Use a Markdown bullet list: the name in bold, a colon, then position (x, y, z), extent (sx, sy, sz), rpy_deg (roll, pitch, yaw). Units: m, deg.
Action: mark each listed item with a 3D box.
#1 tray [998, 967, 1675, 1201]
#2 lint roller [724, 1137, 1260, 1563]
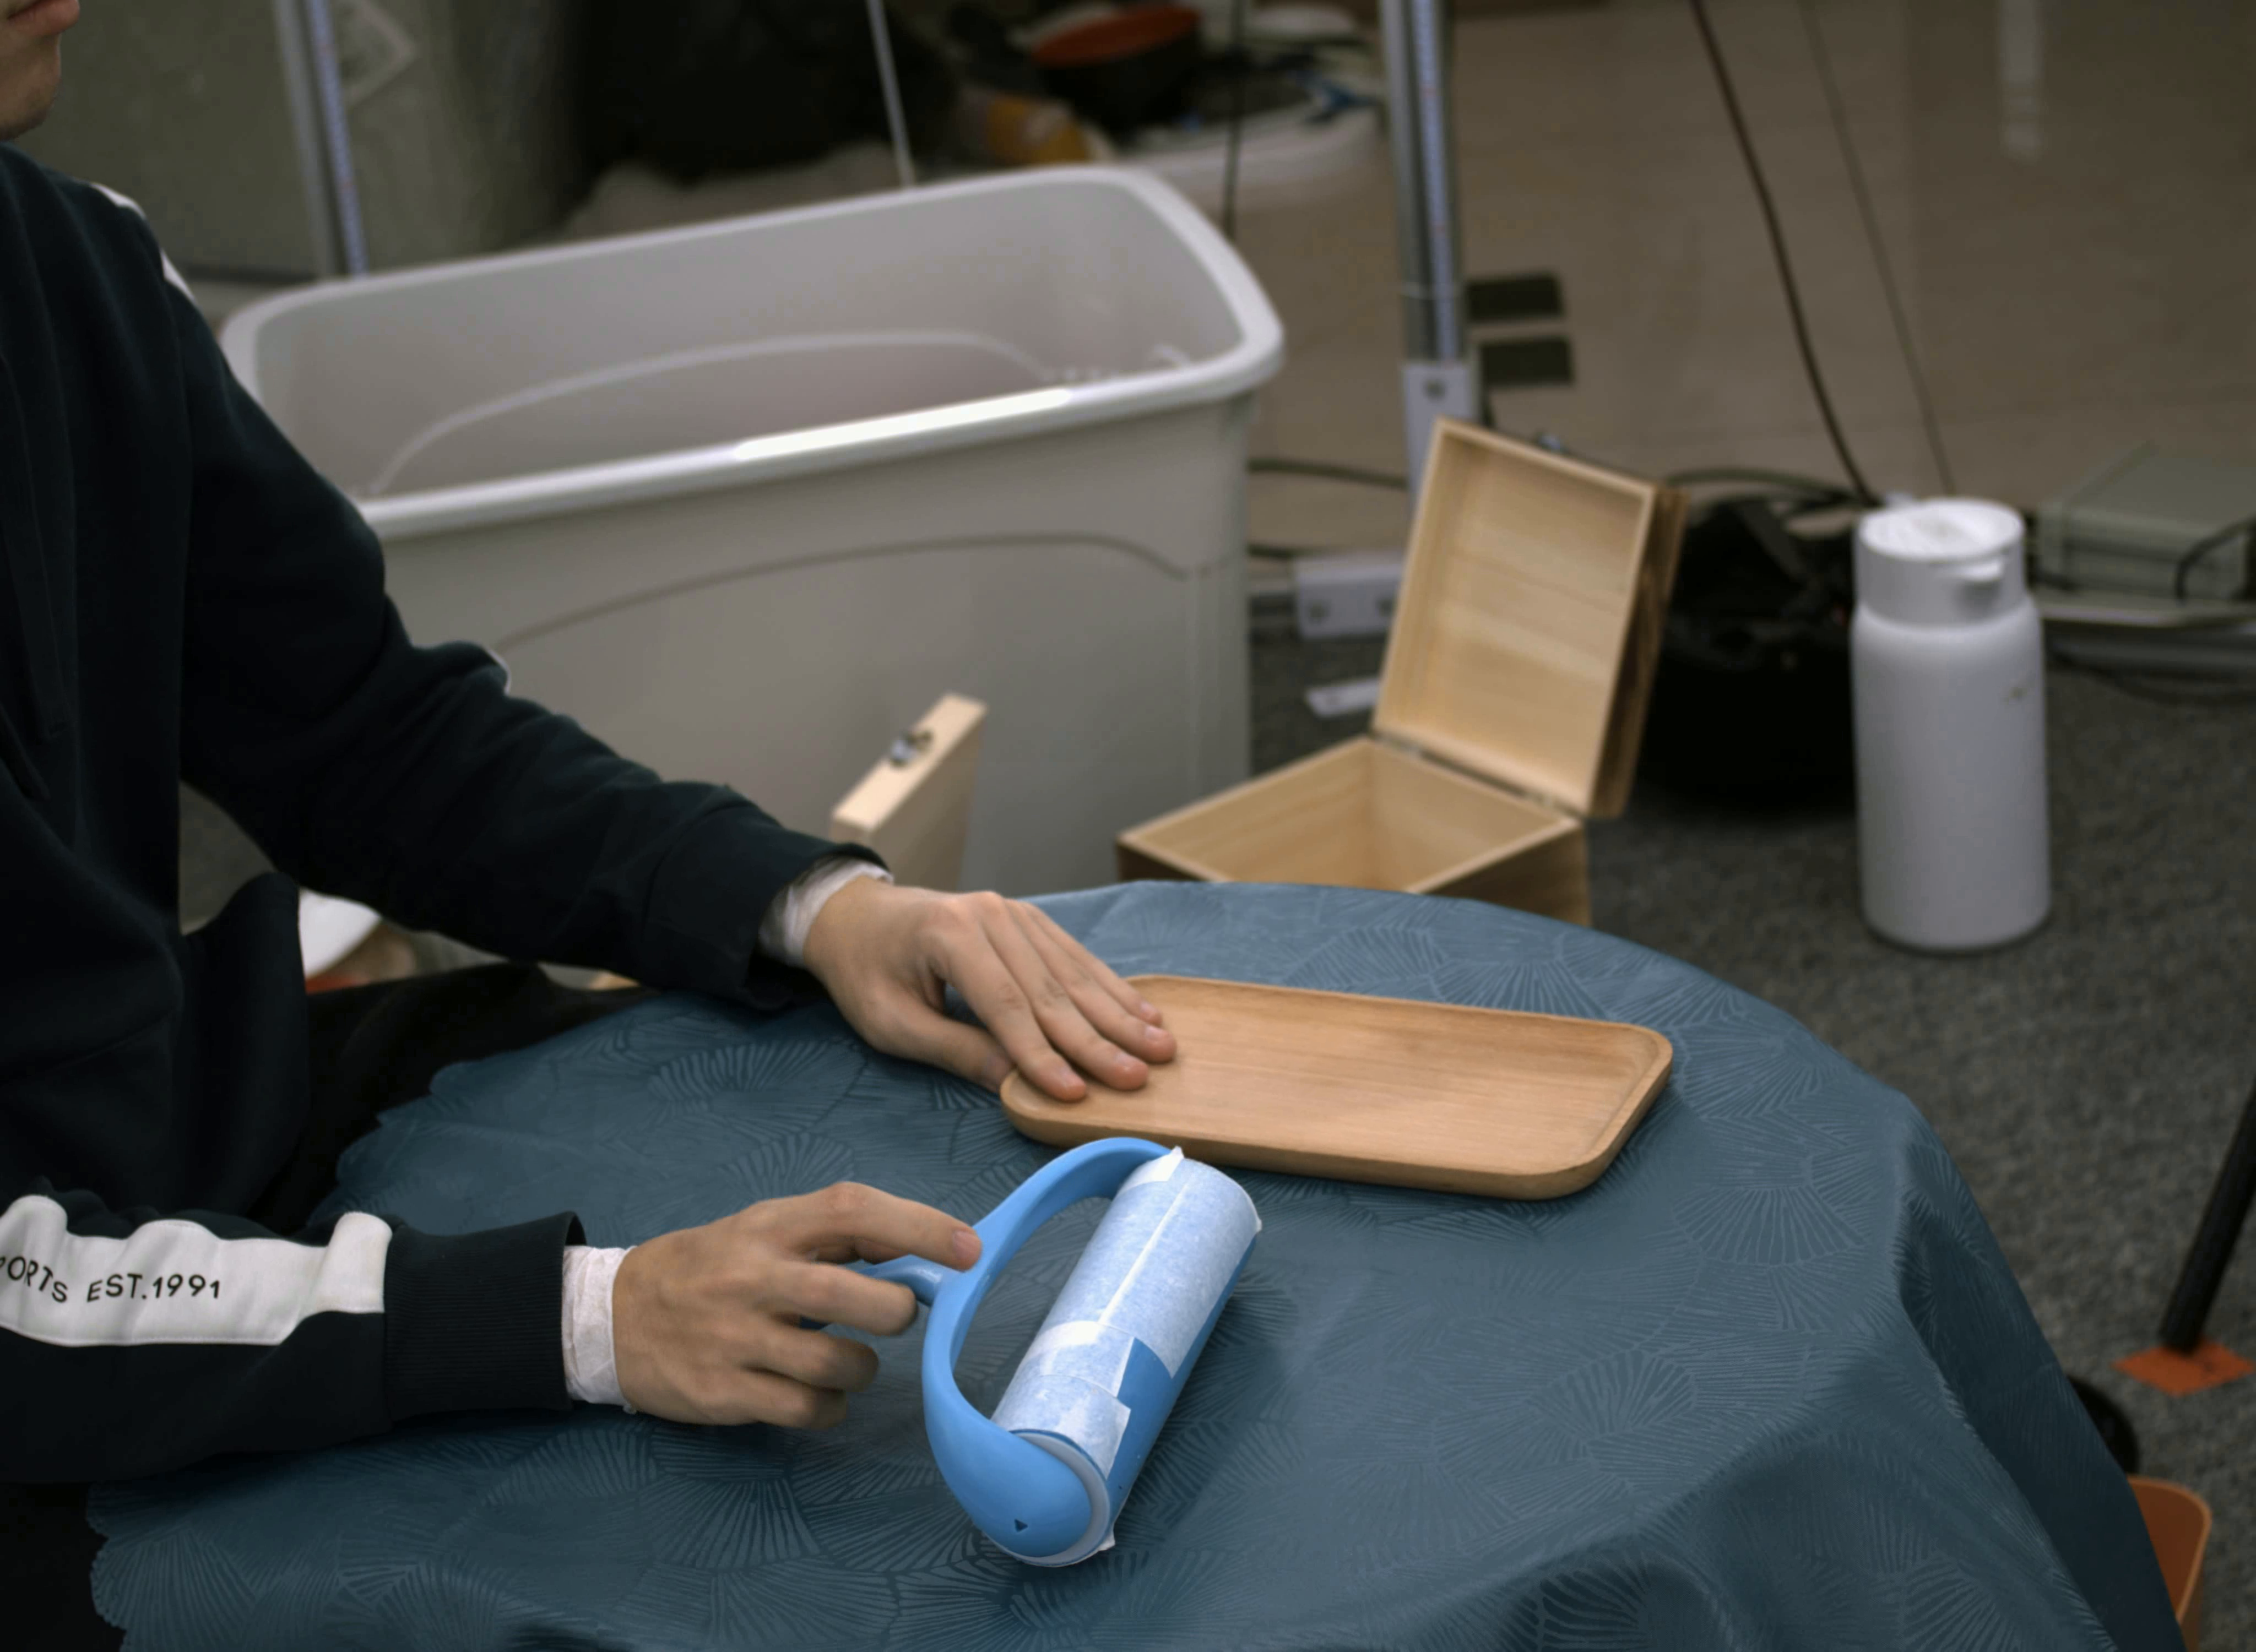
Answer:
- **tray**: position (0.080, 0.099, 2.189), extent (0.250, 0.023, 0.129), rpy_deg (5, 25, 25)
- **lint roller**: position (-0.061, 0.182, 1.999), extent (0.180, 0.069, 0.225), rpy_deg (2, 28, 14)
